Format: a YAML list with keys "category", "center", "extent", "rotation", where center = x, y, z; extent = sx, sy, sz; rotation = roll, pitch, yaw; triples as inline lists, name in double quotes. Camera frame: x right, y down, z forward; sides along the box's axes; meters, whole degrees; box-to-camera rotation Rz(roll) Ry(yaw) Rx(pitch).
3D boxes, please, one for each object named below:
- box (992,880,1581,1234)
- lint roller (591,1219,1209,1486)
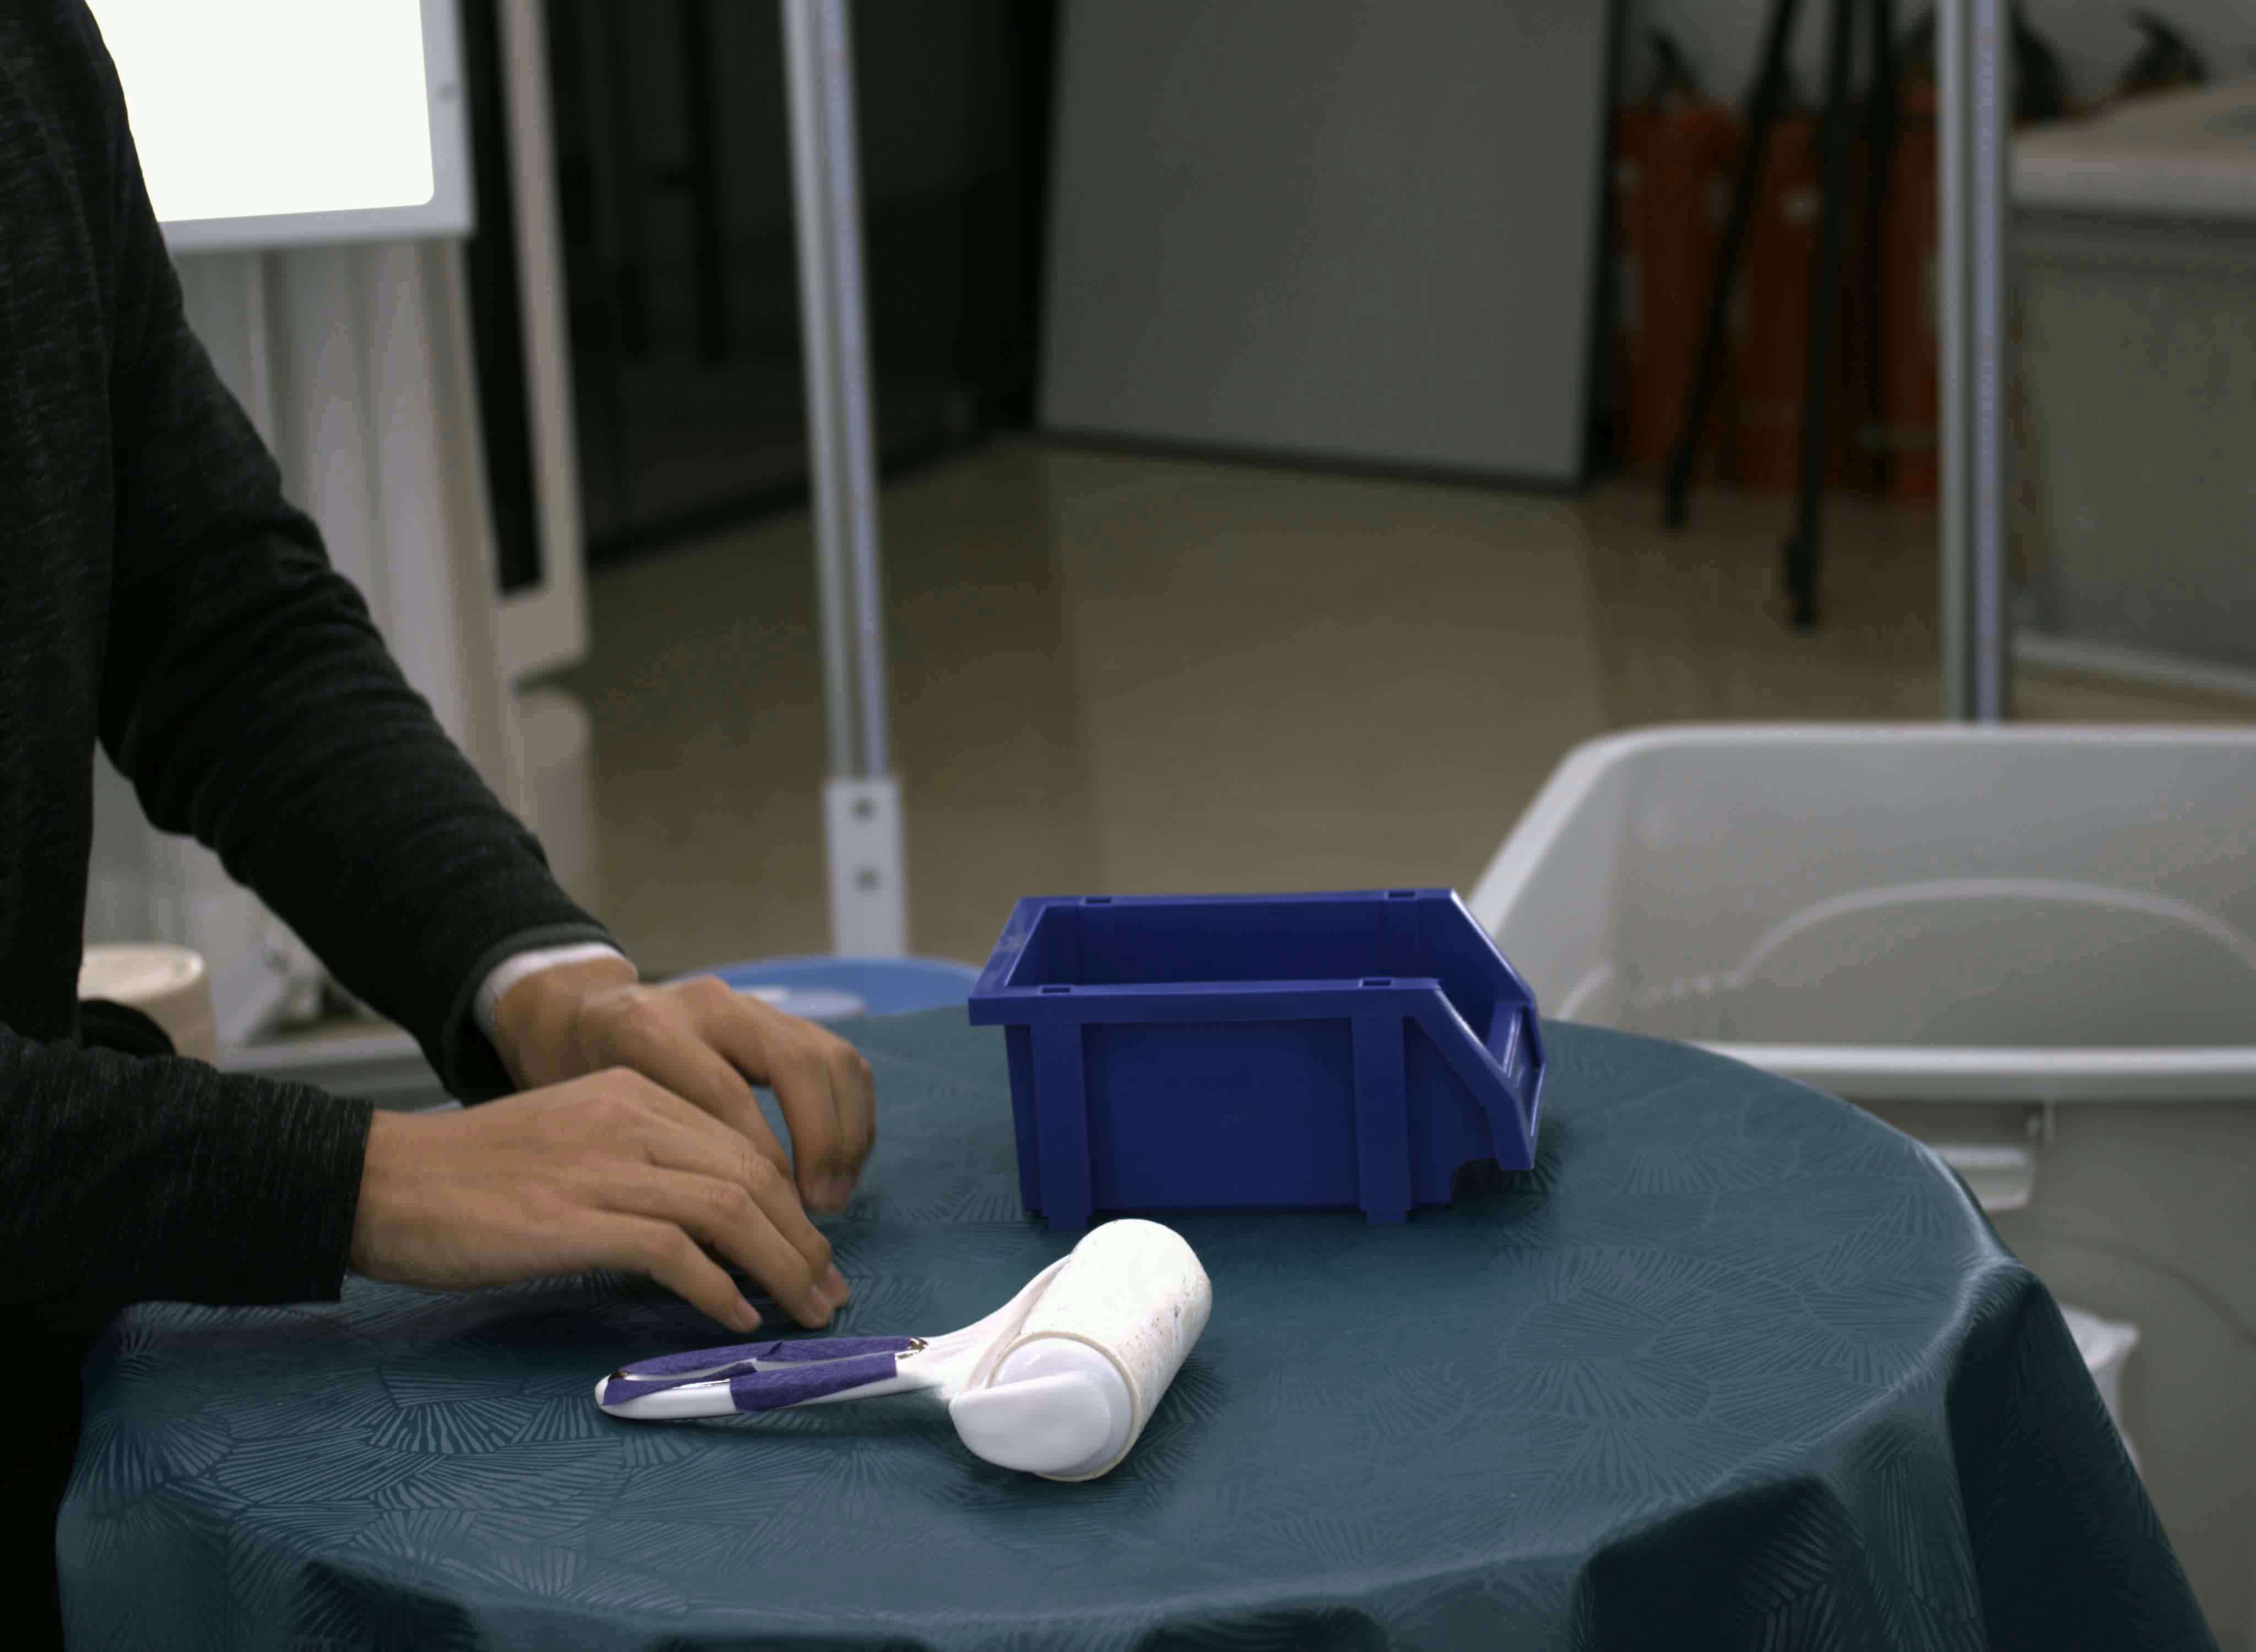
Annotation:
- category: "box"
  center: [0.056, 0.074, 1.773]
  extent: [0.178, 0.083, 0.124]
  rotation: [-4, 13, 11]
- category: "lint roller"
  center: [-0.071, 0.150, 1.574]
  extent: [0.180, 0.051, 0.132]
  rotation: [2, 16, 16]
